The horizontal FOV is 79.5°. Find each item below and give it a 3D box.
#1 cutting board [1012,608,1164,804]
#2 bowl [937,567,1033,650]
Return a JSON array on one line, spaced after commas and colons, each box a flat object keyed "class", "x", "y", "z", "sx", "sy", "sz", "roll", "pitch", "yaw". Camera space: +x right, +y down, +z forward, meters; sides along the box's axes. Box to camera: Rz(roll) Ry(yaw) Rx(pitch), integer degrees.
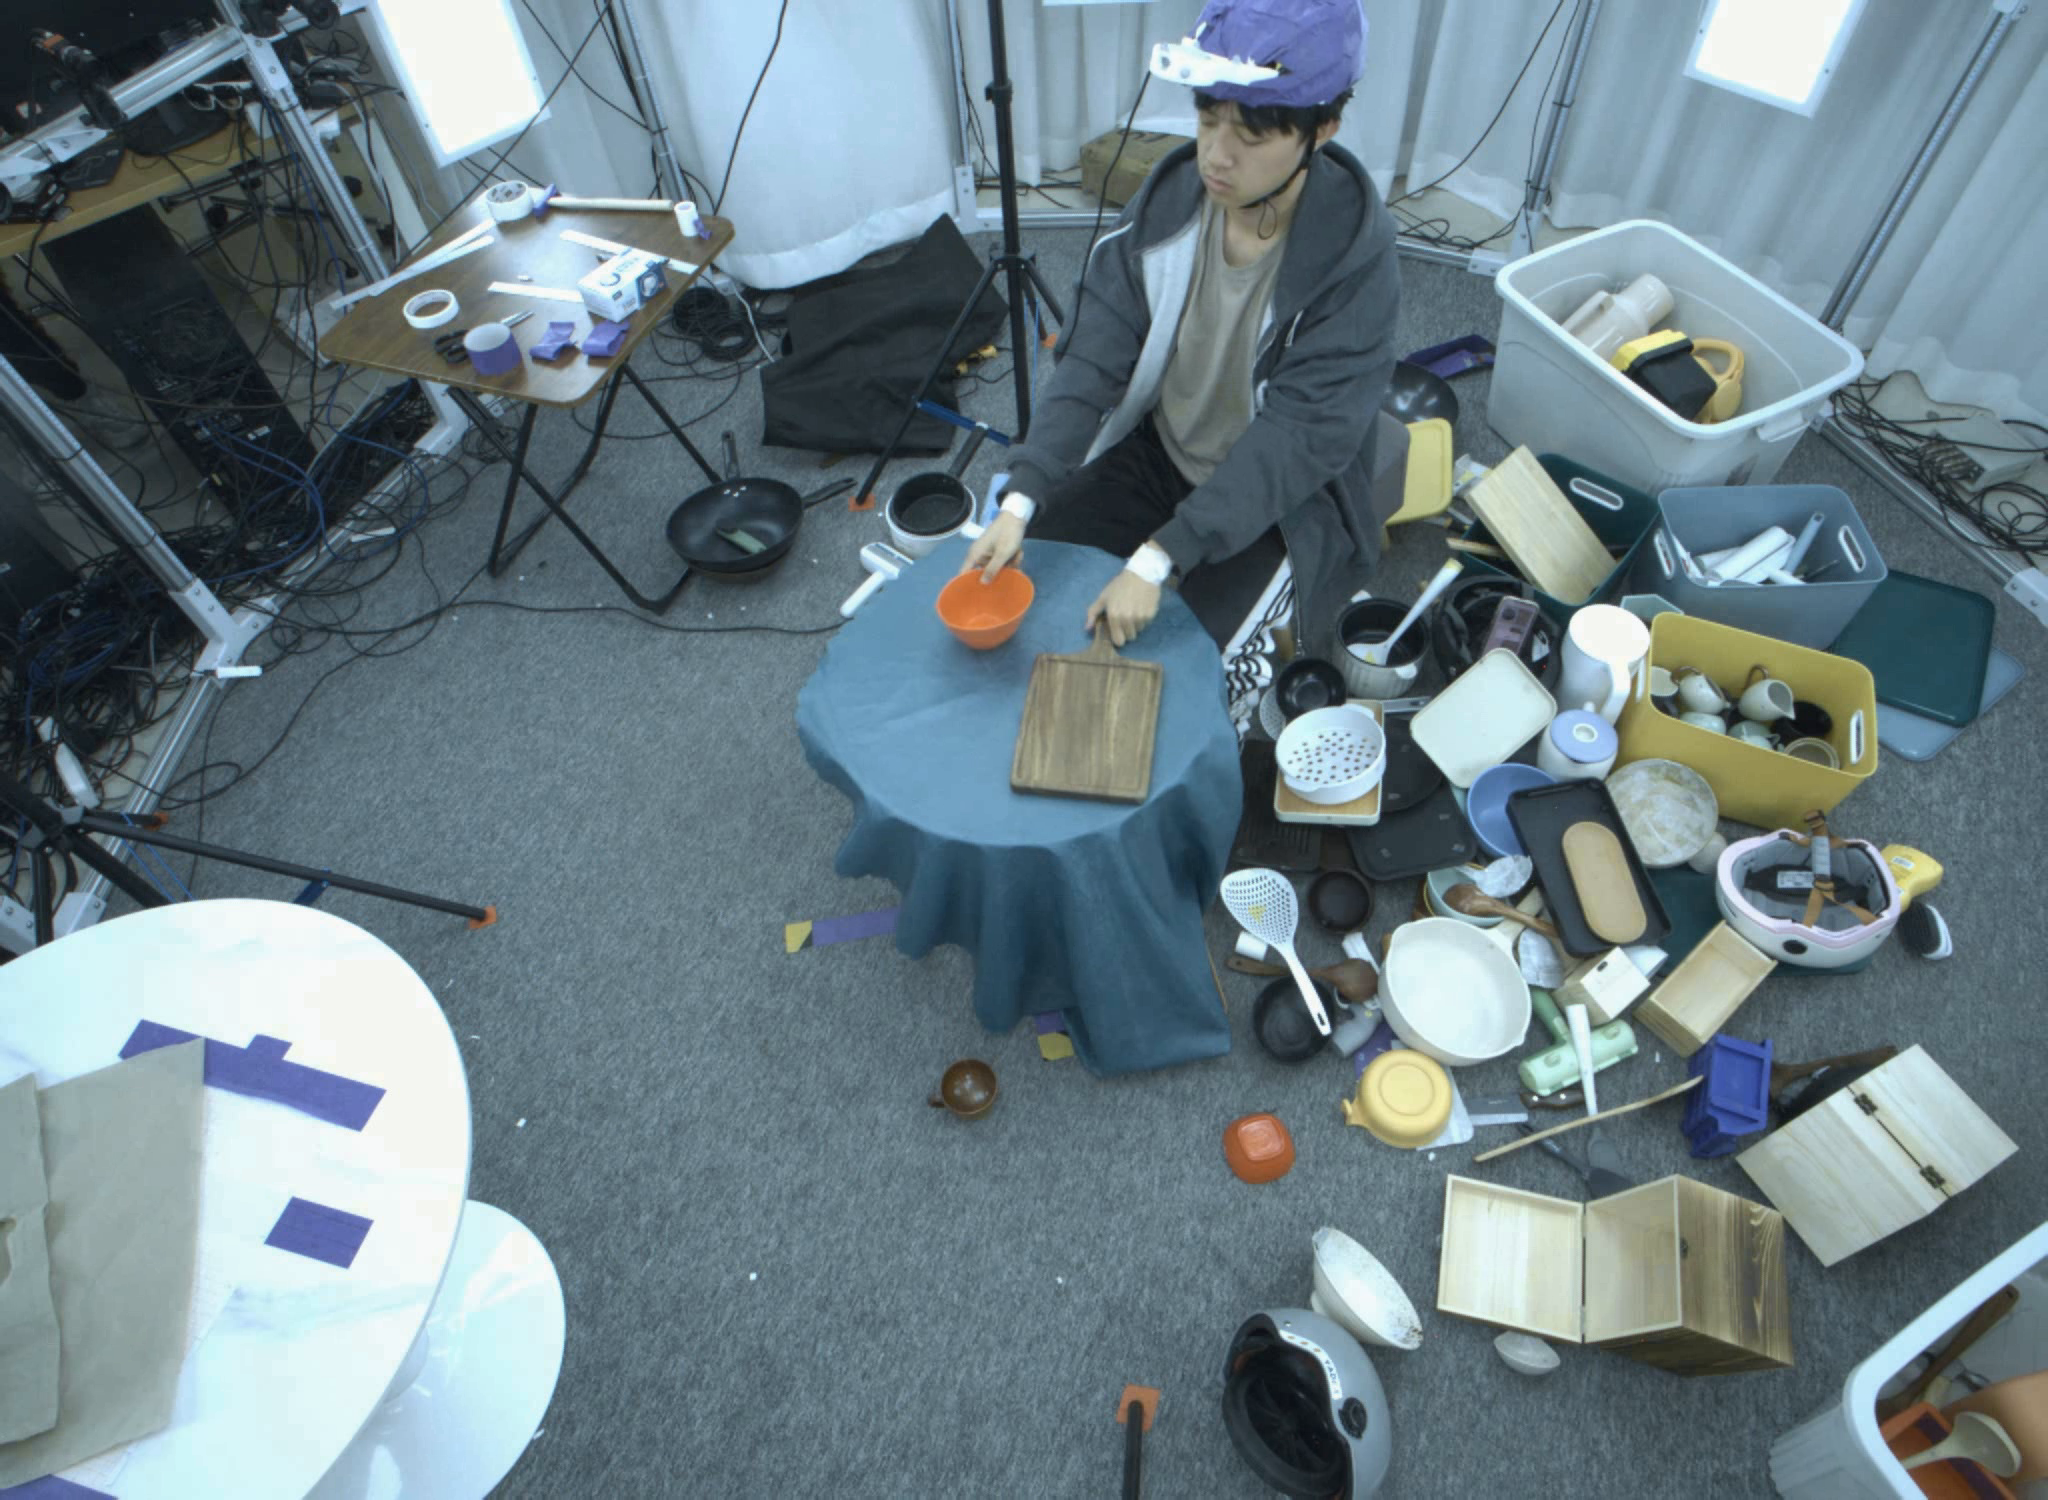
[{"class": "cutting board", "x": 0.104, "y": -0.075, "z": 1.827, "sx": 0.200, "sy": 0.023, "sz": 0.350, "roll": 6, "pitch": 55, "yaw": 6}, {"class": "bowl", "x": -0.057, "y": -0.204, "z": 1.874, "sx": 0.148, "sy": 0.106, "sz": 0.146, "roll": -1, "pitch": 55, "yaw": 2}]
